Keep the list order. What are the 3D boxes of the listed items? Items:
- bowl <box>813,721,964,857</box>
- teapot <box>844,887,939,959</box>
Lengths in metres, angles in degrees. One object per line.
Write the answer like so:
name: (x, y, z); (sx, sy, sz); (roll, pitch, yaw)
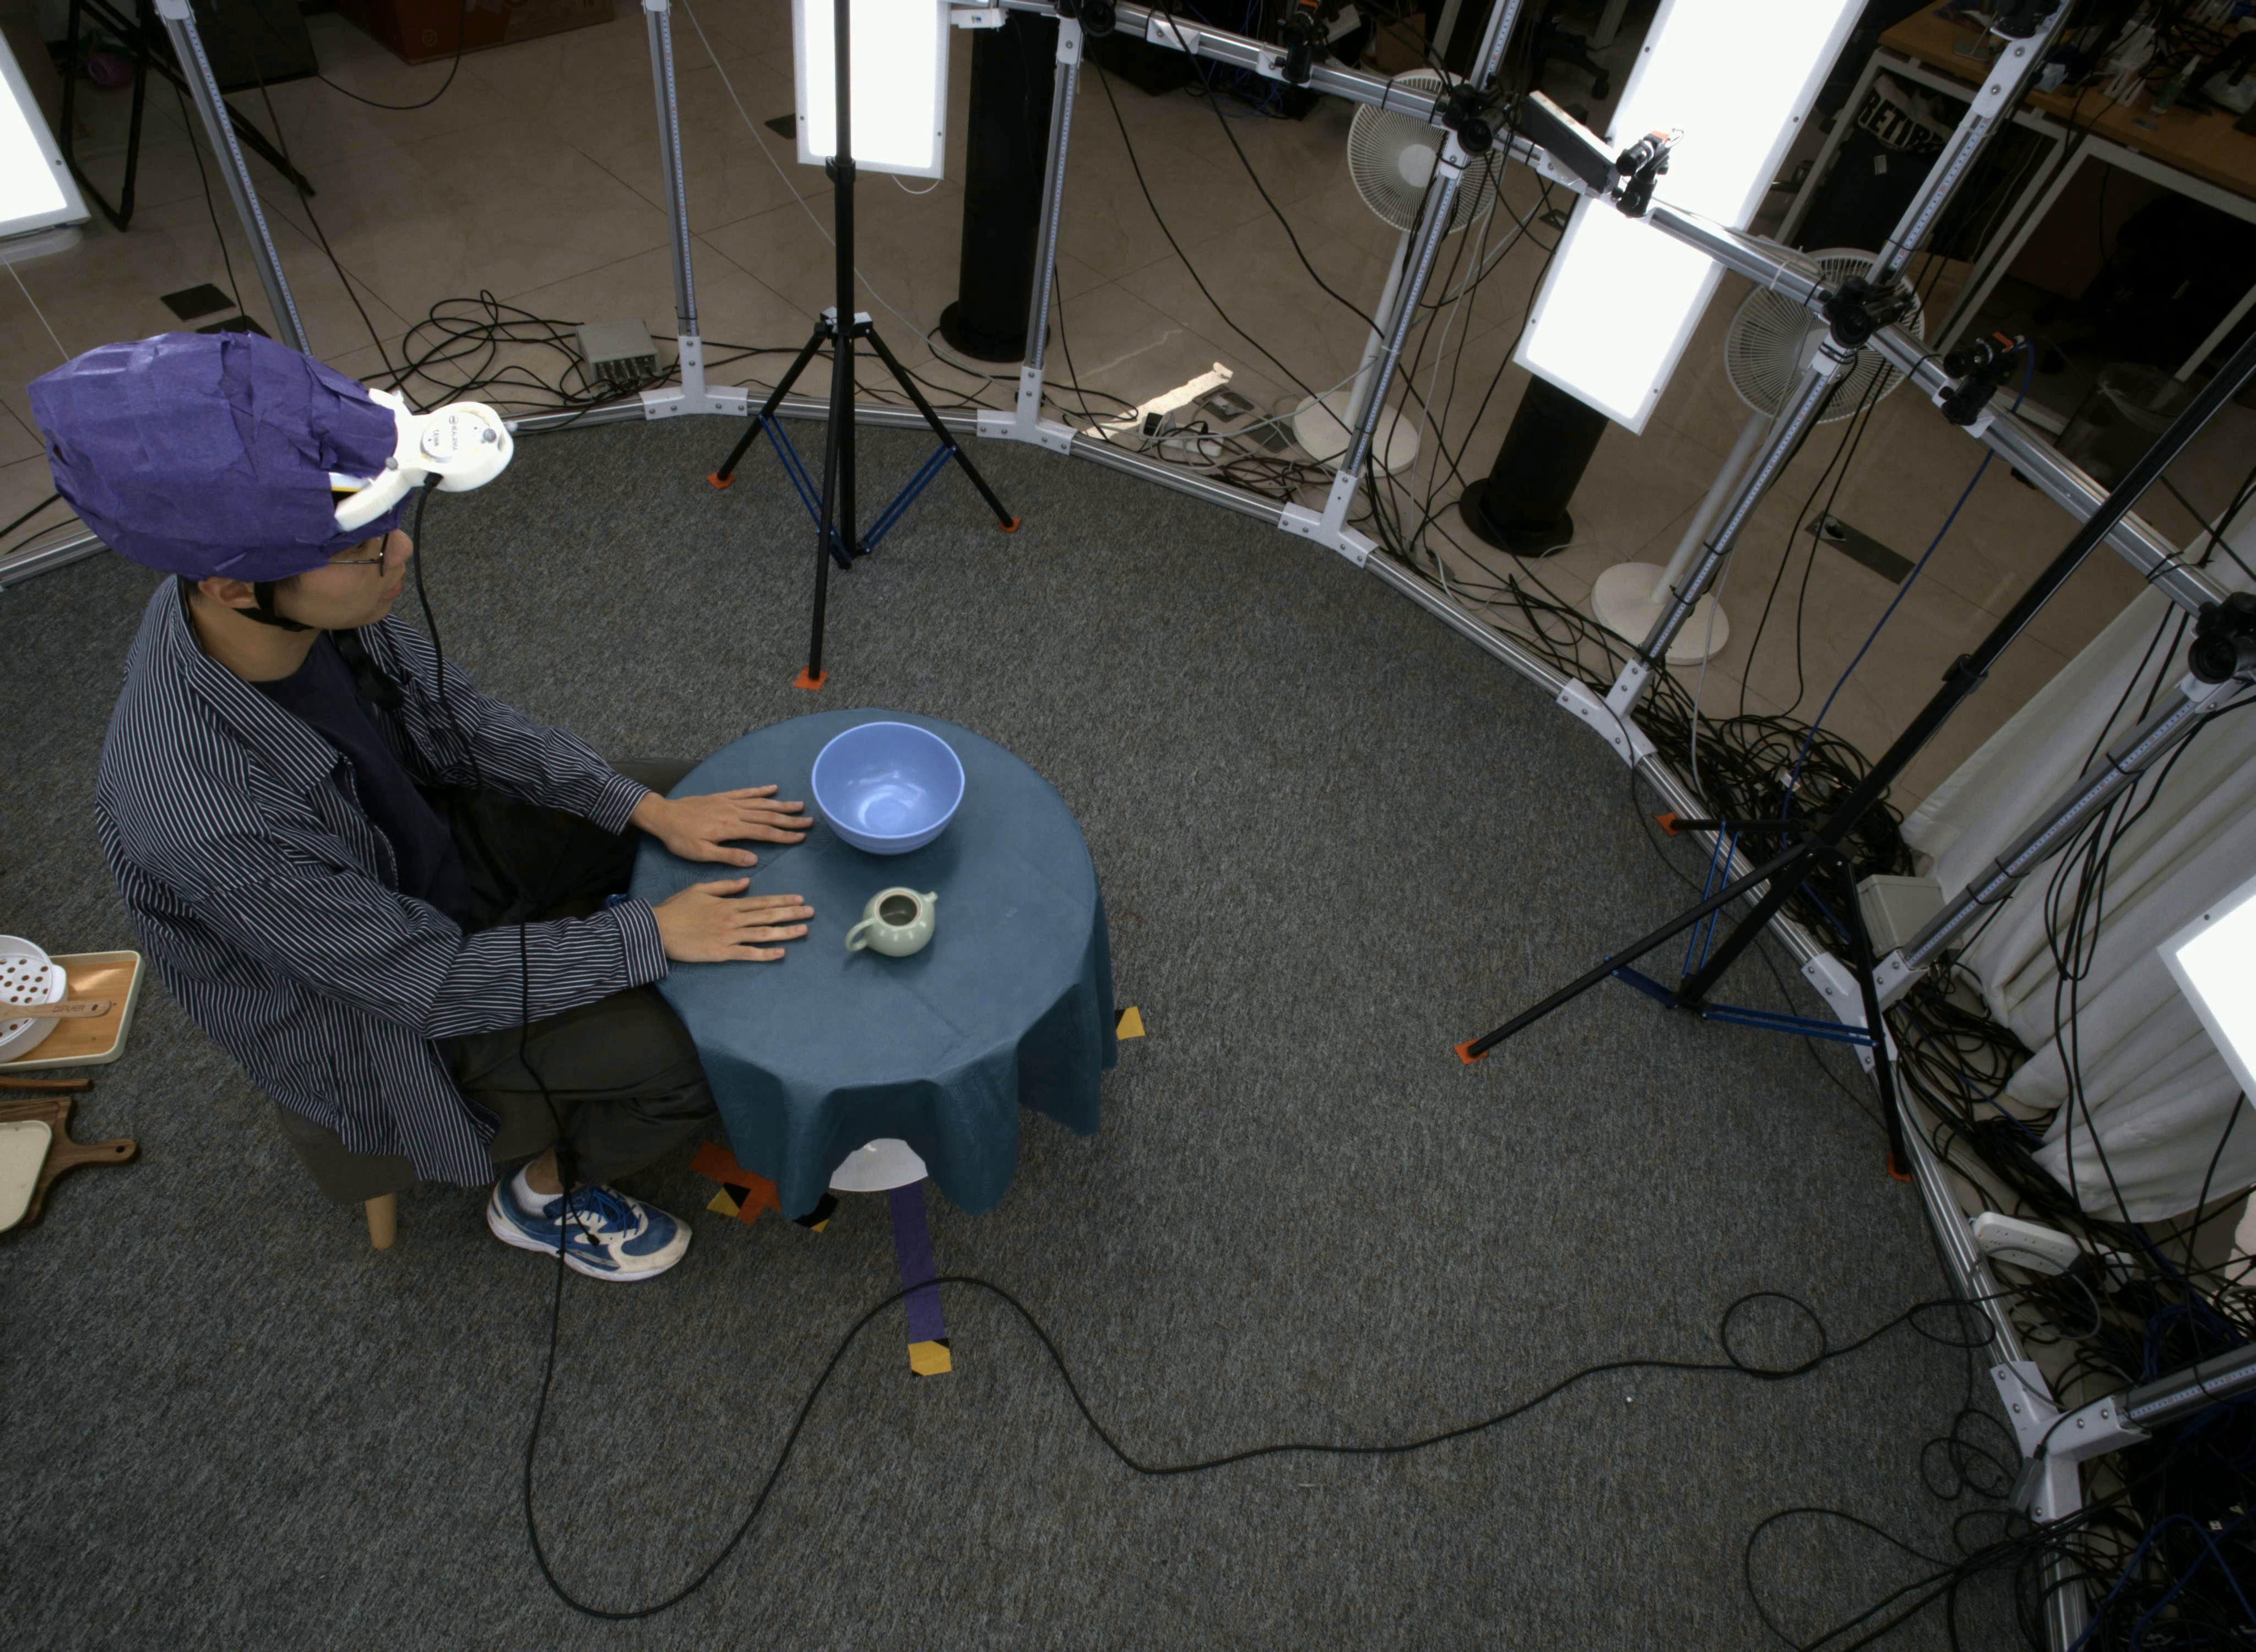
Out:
bowl: (-0.319, -0.034, 1.732); (0.196, 0.097, 0.193); (7, 53, -8)
teapot: (-0.297, 0.125, 1.641); (0.129, 0.062, 0.089); (-20, 62, -24)
